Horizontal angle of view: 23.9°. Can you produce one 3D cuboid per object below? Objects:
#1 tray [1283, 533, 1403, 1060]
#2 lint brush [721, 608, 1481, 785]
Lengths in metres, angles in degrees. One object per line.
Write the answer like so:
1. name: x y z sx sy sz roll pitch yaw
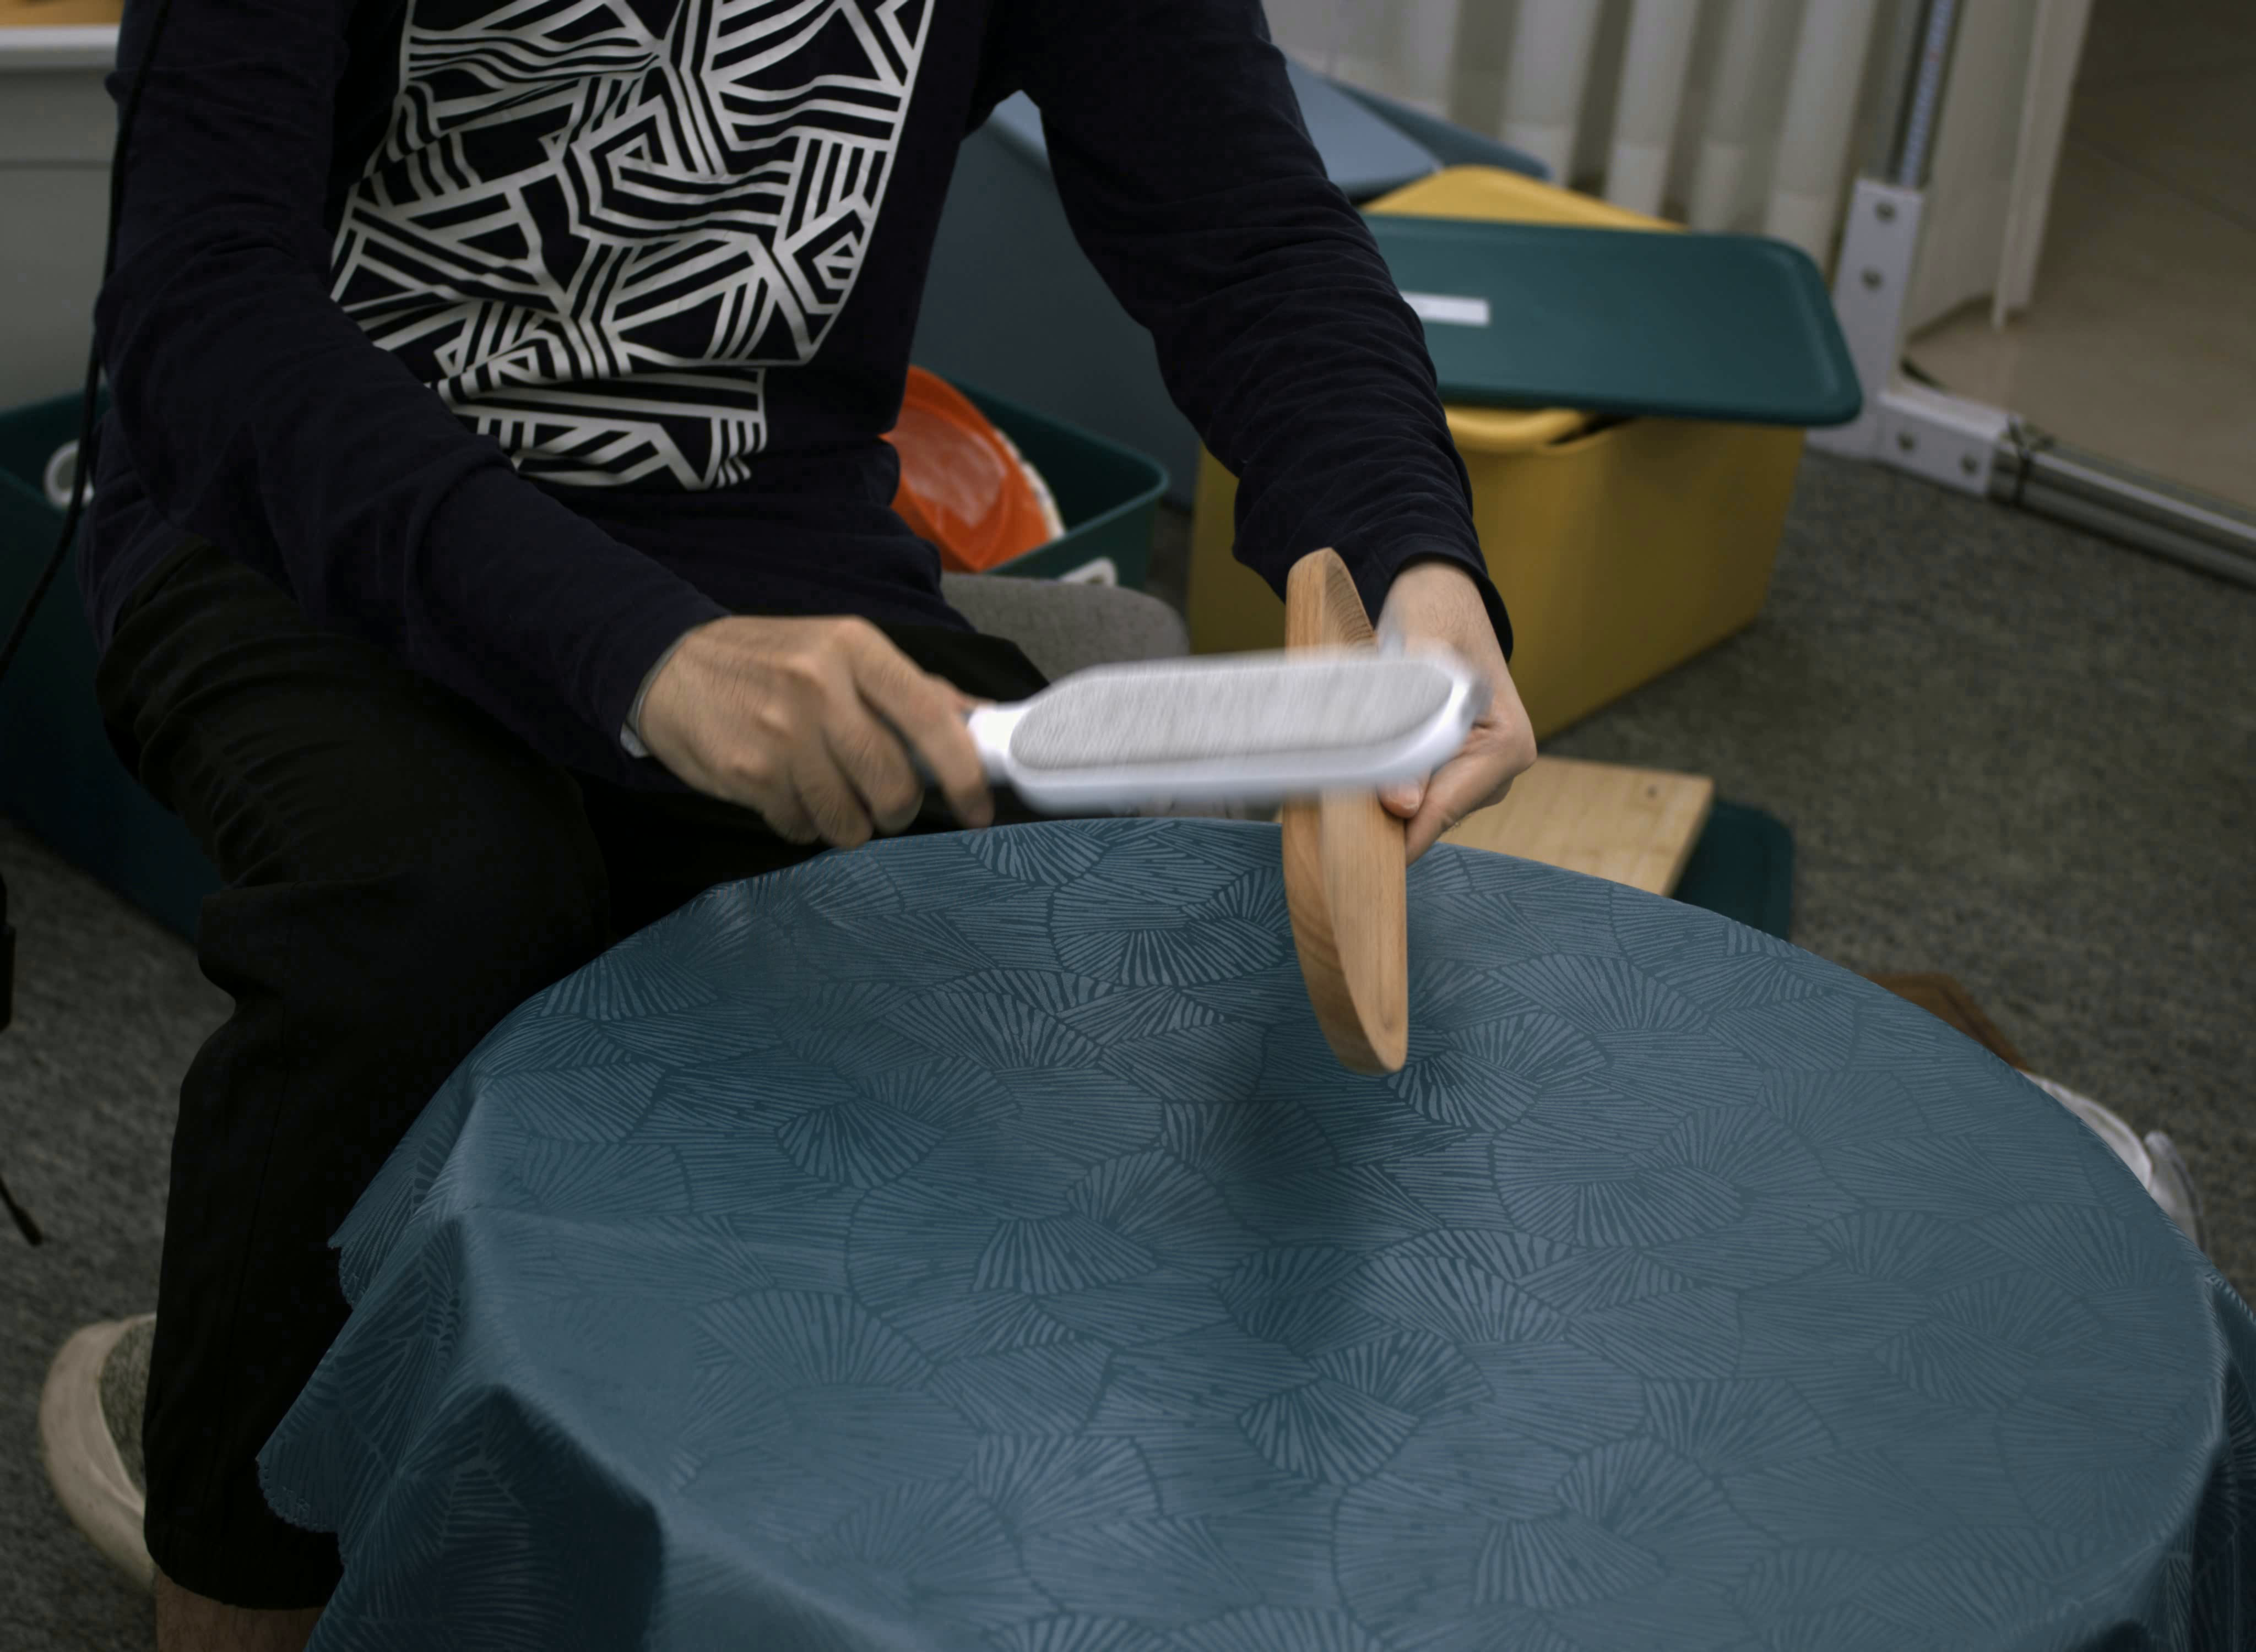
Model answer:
1. tray: 0.073 -0.012 1.833 0.020 0.101 0.233 -13 37 10
2. lint brush: -0.016 -0.040 1.829 0.310 0.021 0.060 -5 47 34
